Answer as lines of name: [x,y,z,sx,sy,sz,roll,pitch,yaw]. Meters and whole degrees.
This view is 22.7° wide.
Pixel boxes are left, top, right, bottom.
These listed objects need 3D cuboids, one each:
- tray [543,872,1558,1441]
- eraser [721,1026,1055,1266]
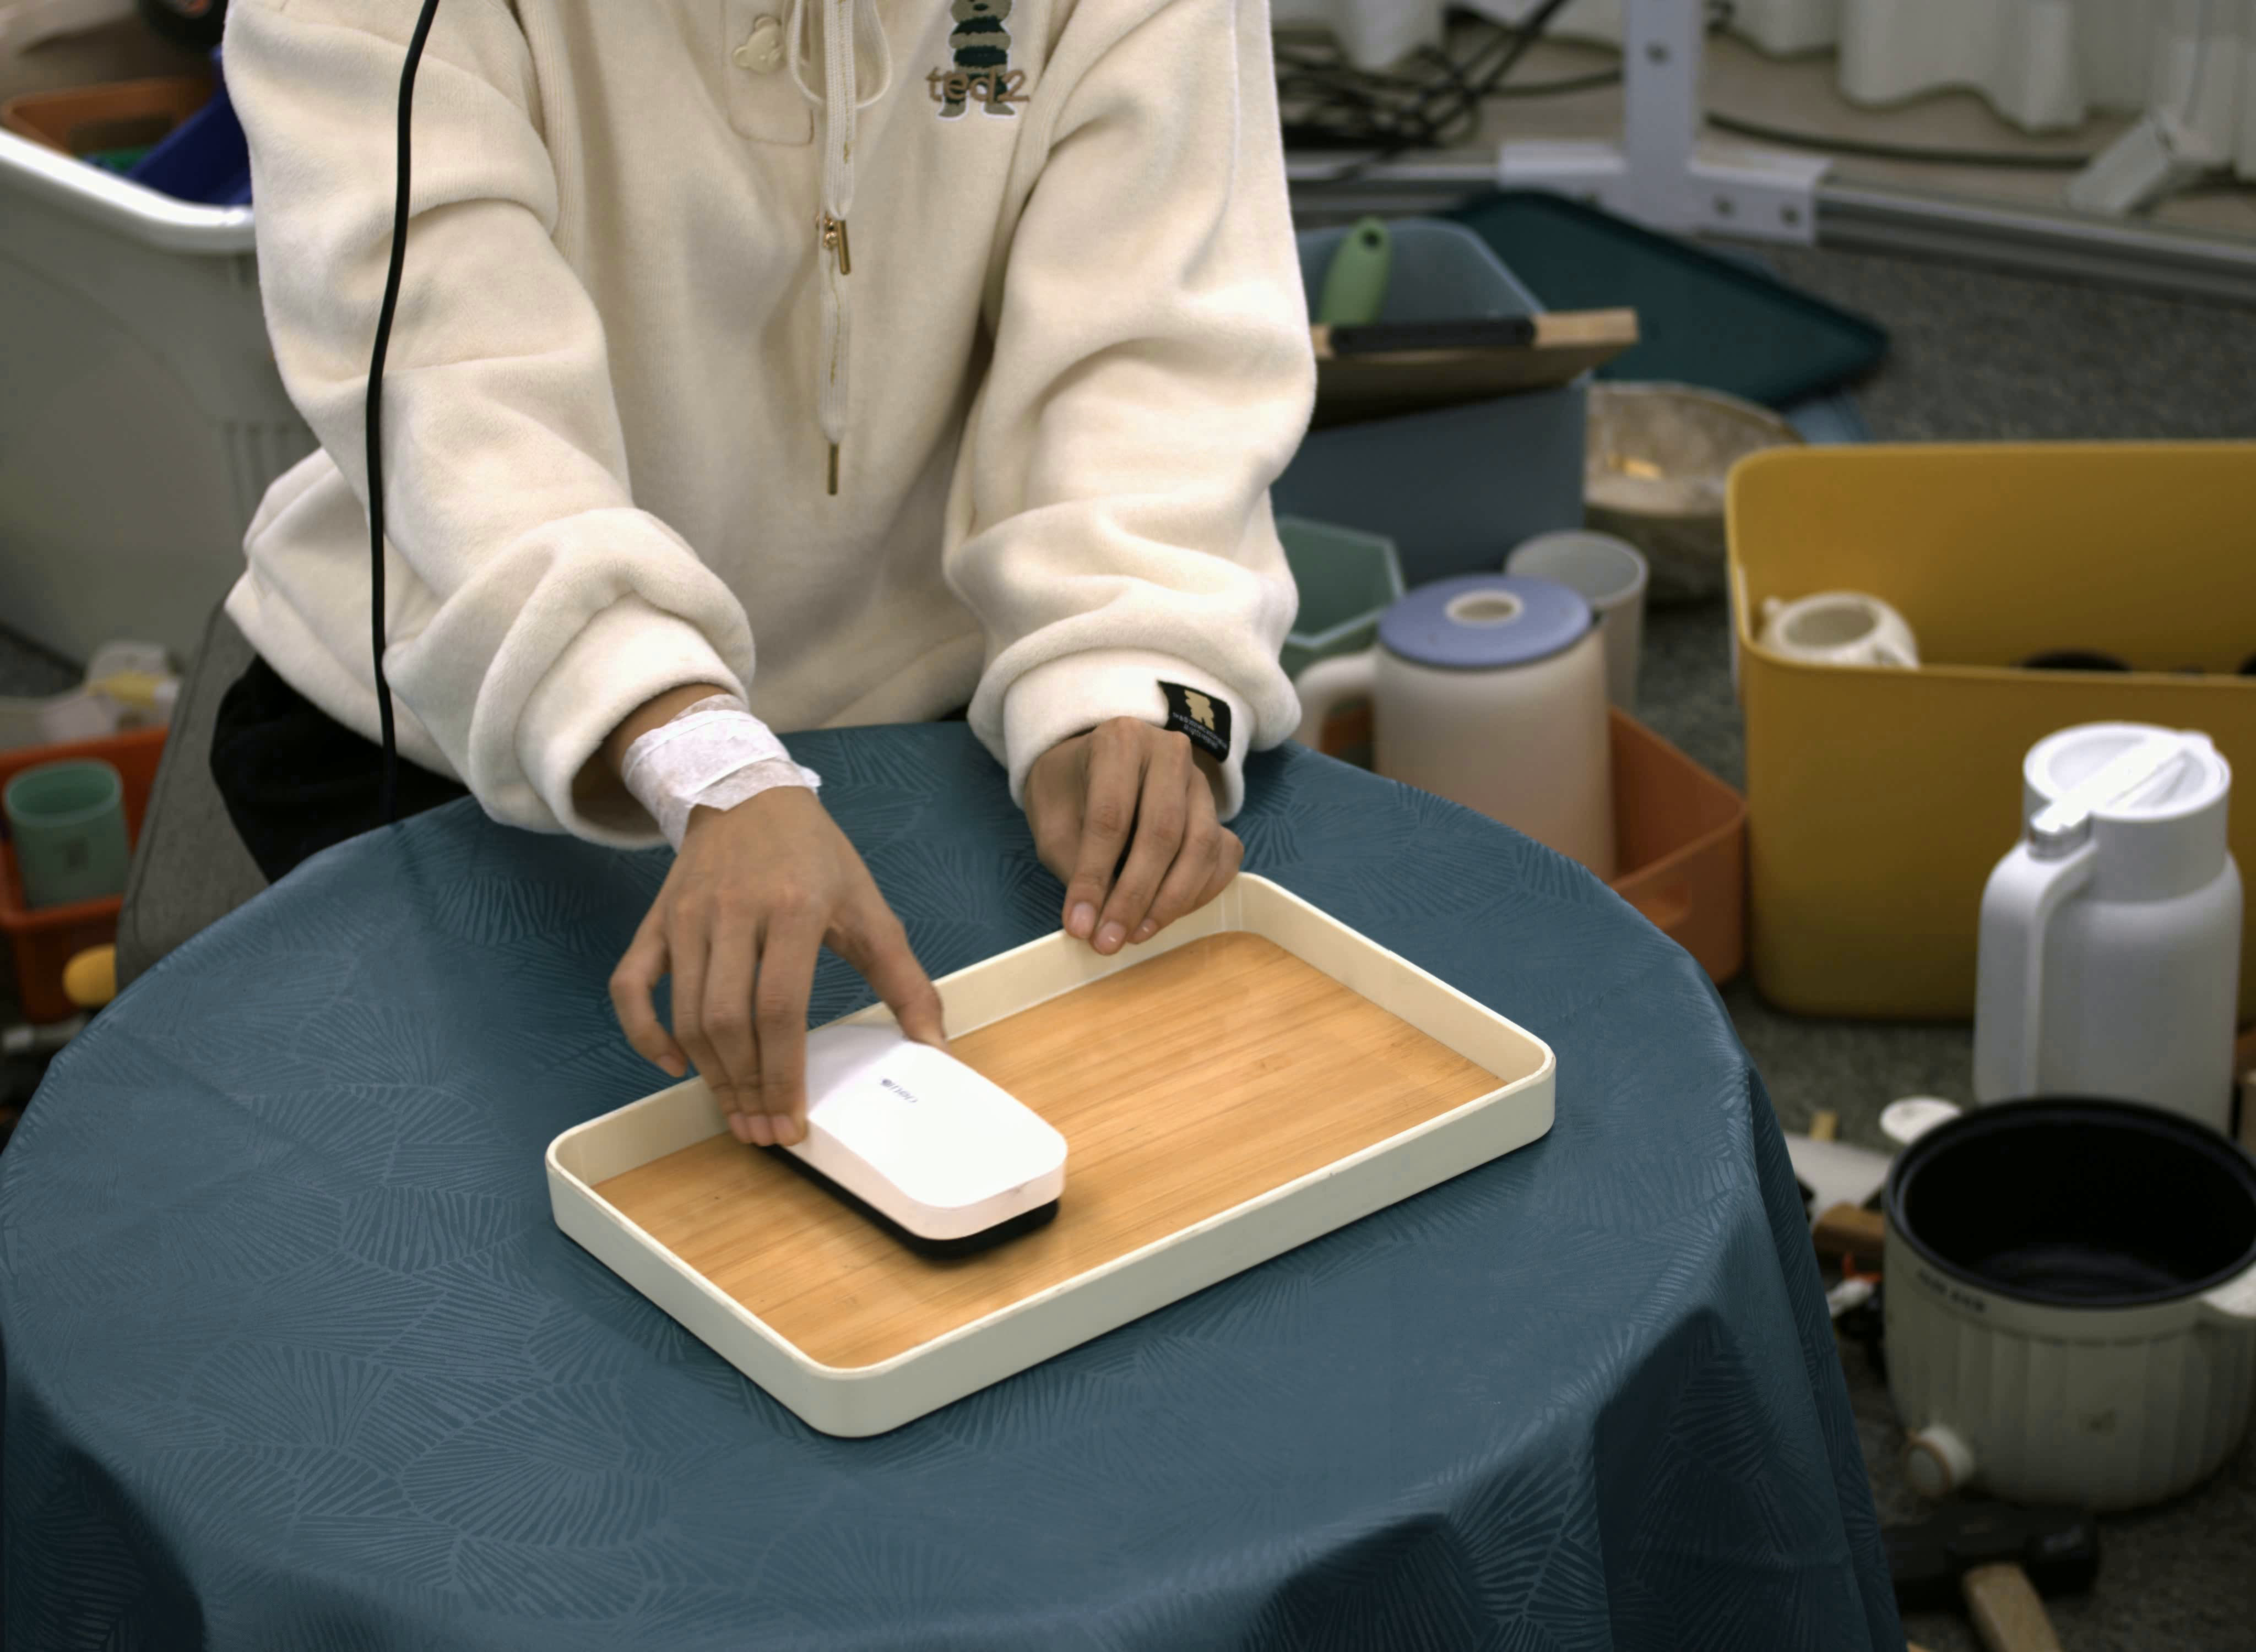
tray: [-0.024,0.104,1.868,0.303,0.027,0.192,-21,33,-31]
eraser: [-0.079,0.102,1.859,0.064,0.034,0.131,-19,30,-31]
